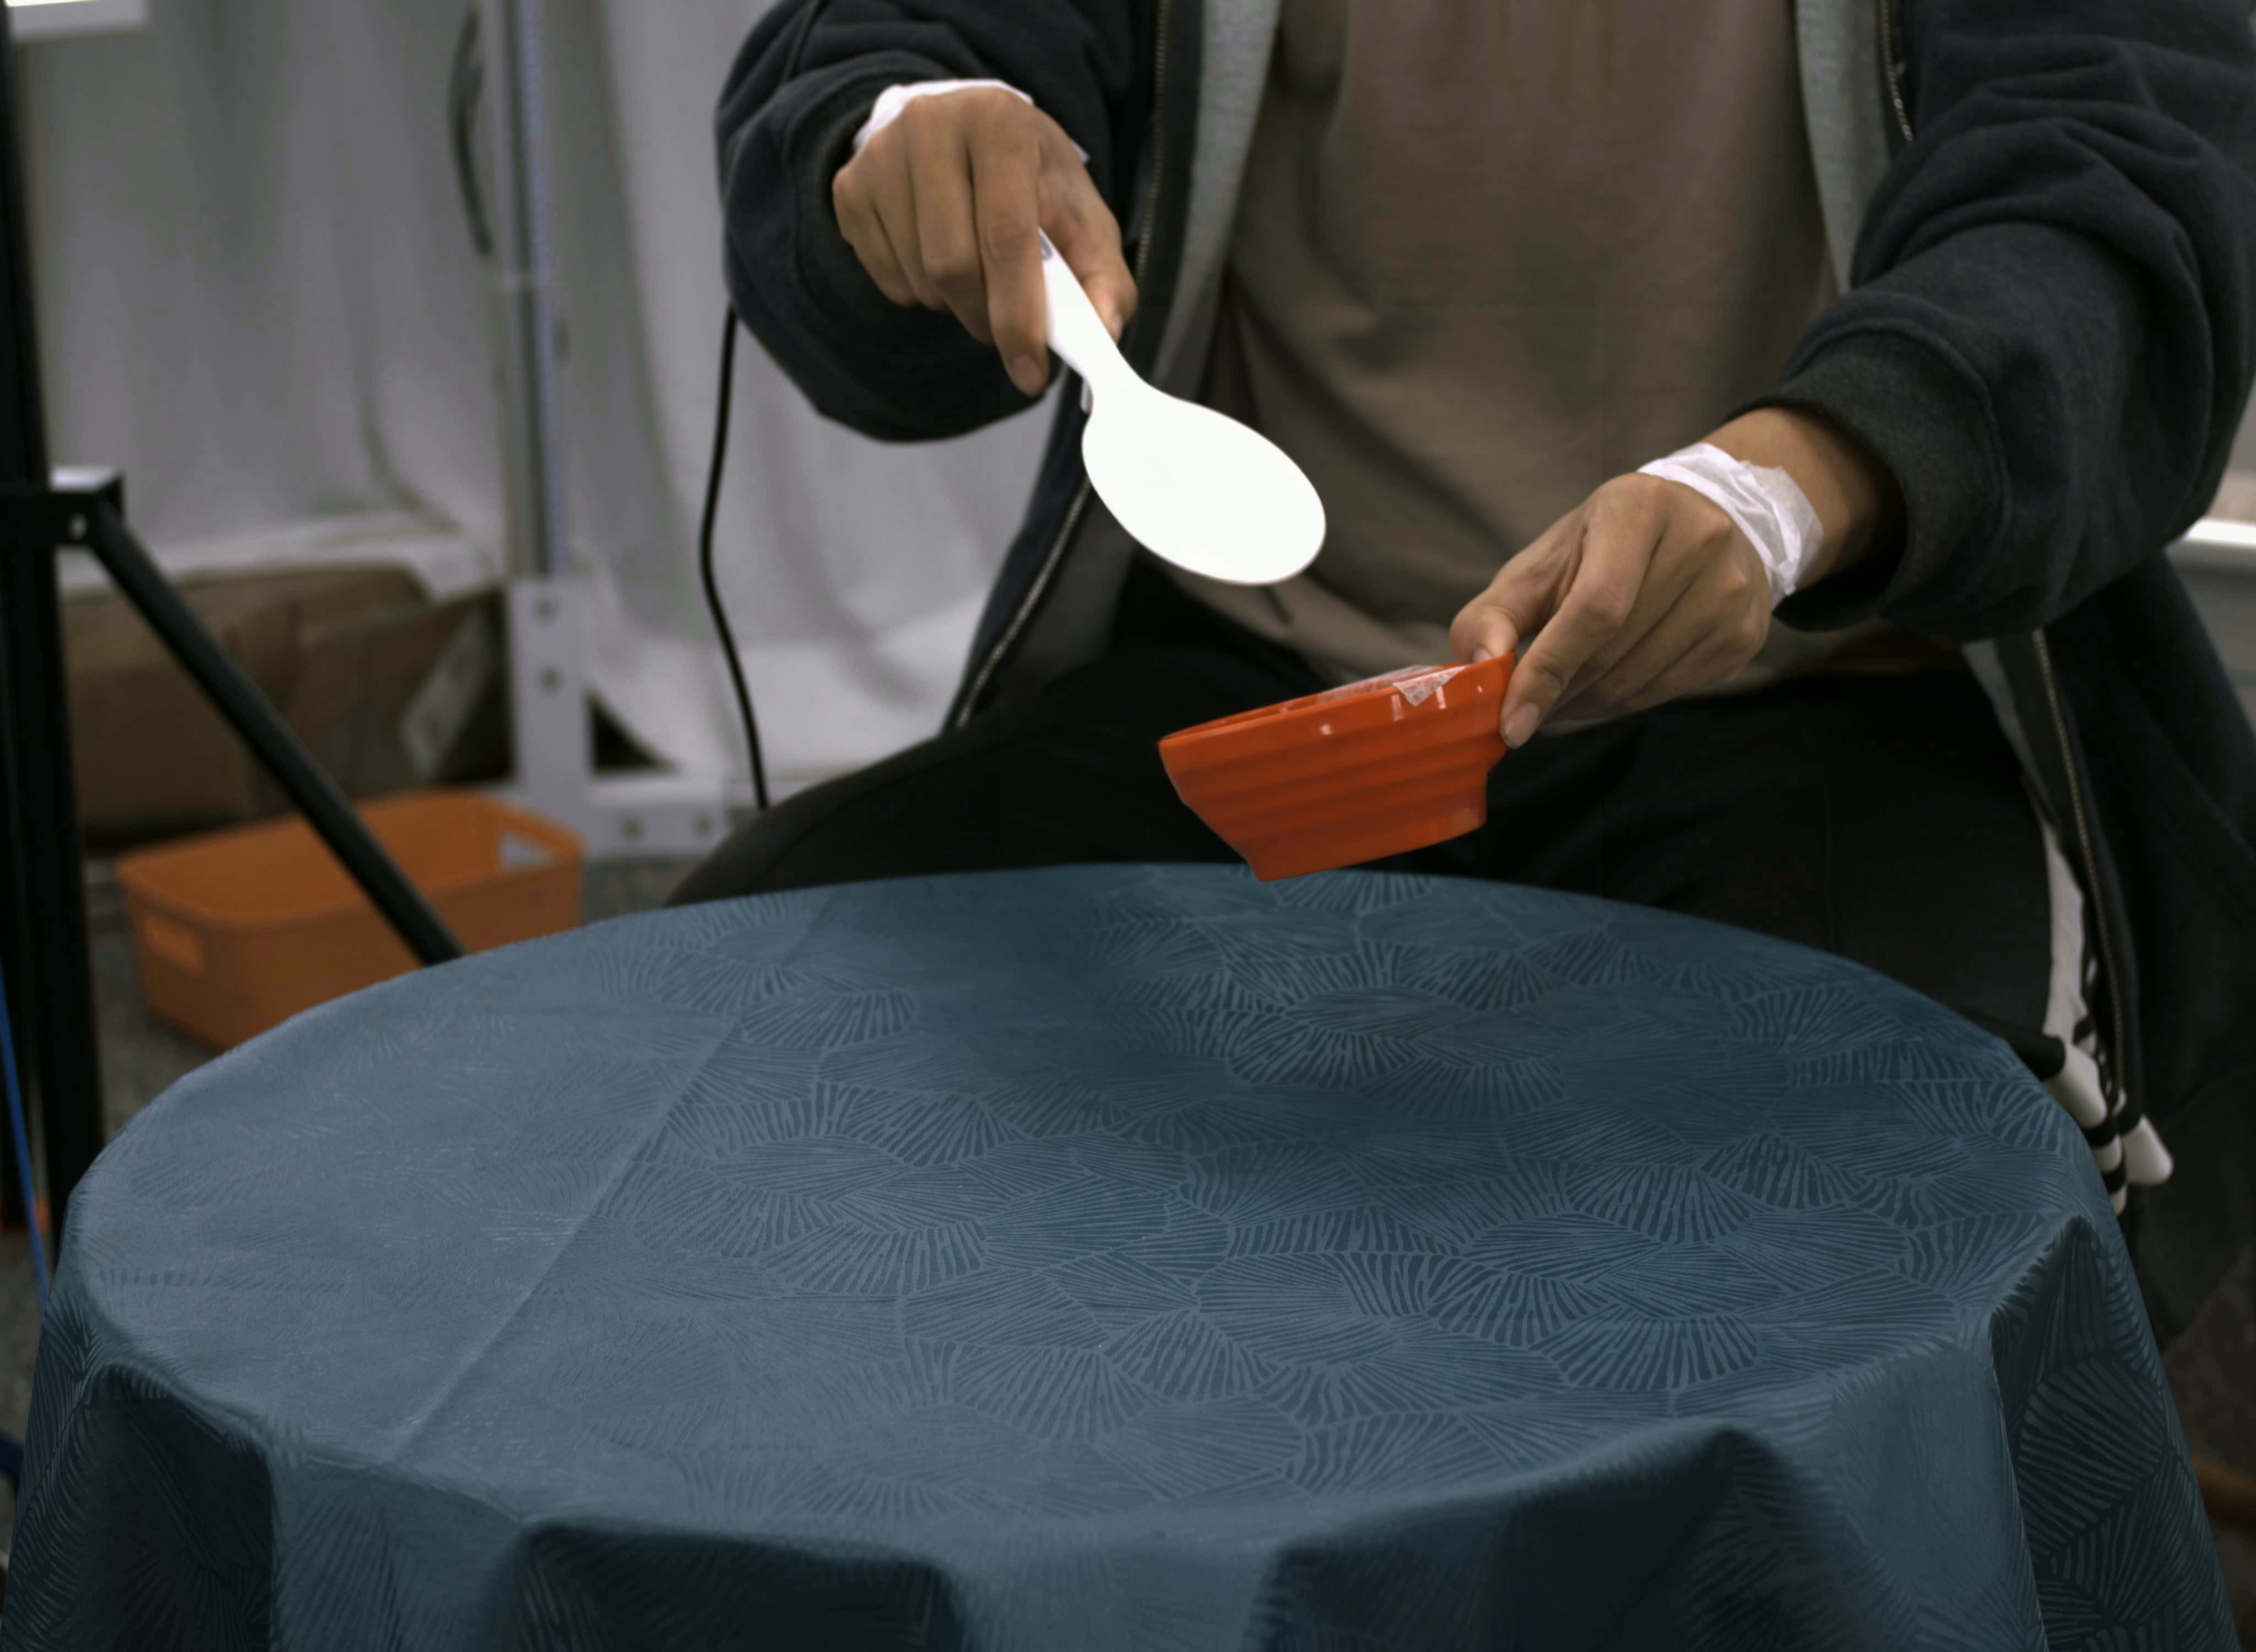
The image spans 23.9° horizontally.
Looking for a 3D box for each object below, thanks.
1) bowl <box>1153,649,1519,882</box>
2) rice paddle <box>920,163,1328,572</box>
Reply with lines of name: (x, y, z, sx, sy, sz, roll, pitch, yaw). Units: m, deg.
bowl: (0.069, -0.016, 1.621, 0.118, 0.051, 0.119, -14, 3, -1)
rice paddle: (-0.004, -0.143, 1.690, 0.067, 0.029, 0.210, -16, 45, -26)
